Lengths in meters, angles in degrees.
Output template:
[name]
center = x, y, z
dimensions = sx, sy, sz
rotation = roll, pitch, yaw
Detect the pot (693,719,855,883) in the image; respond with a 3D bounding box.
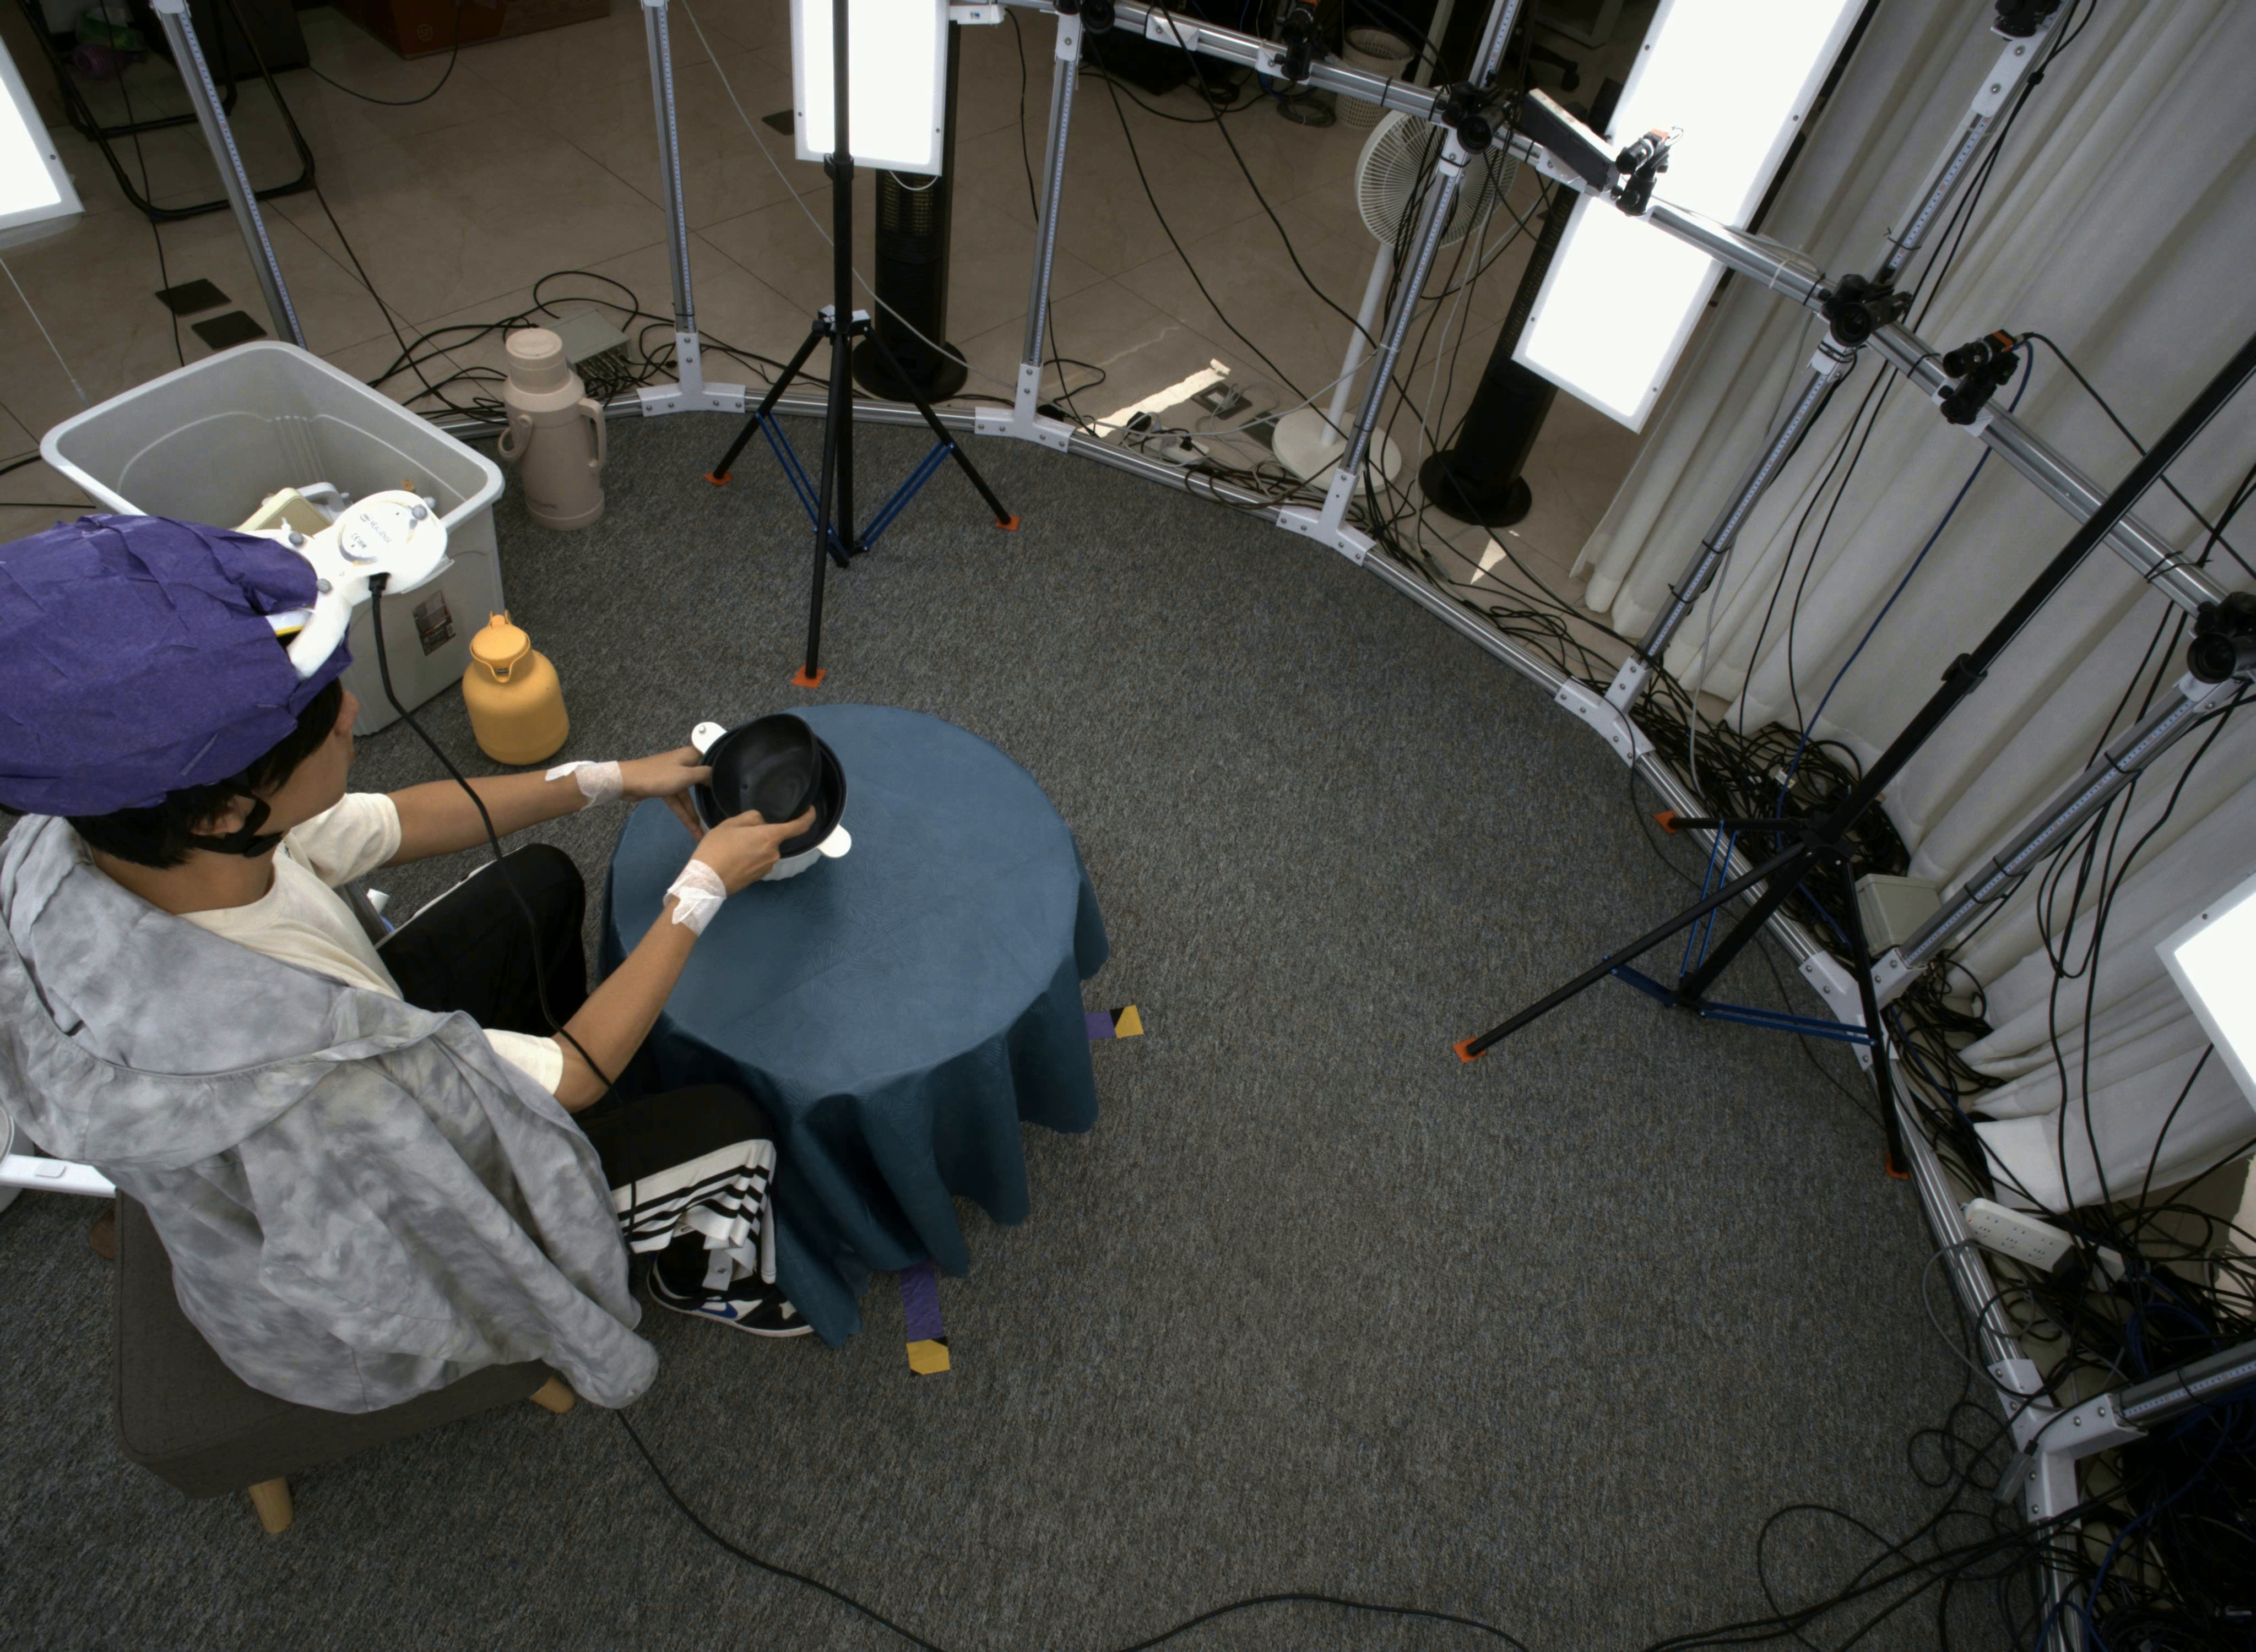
[pot]
center = -0.444, -0.030, 1.628
dimensions = 0.241, 0.142, 0.190
rotation = 39, 68, -4

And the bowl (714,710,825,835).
[bowl]
center = -0.407, -0.055, 1.514
dimensions = 0.136, 0.069, 0.166
rotation = -24, 54, 4
